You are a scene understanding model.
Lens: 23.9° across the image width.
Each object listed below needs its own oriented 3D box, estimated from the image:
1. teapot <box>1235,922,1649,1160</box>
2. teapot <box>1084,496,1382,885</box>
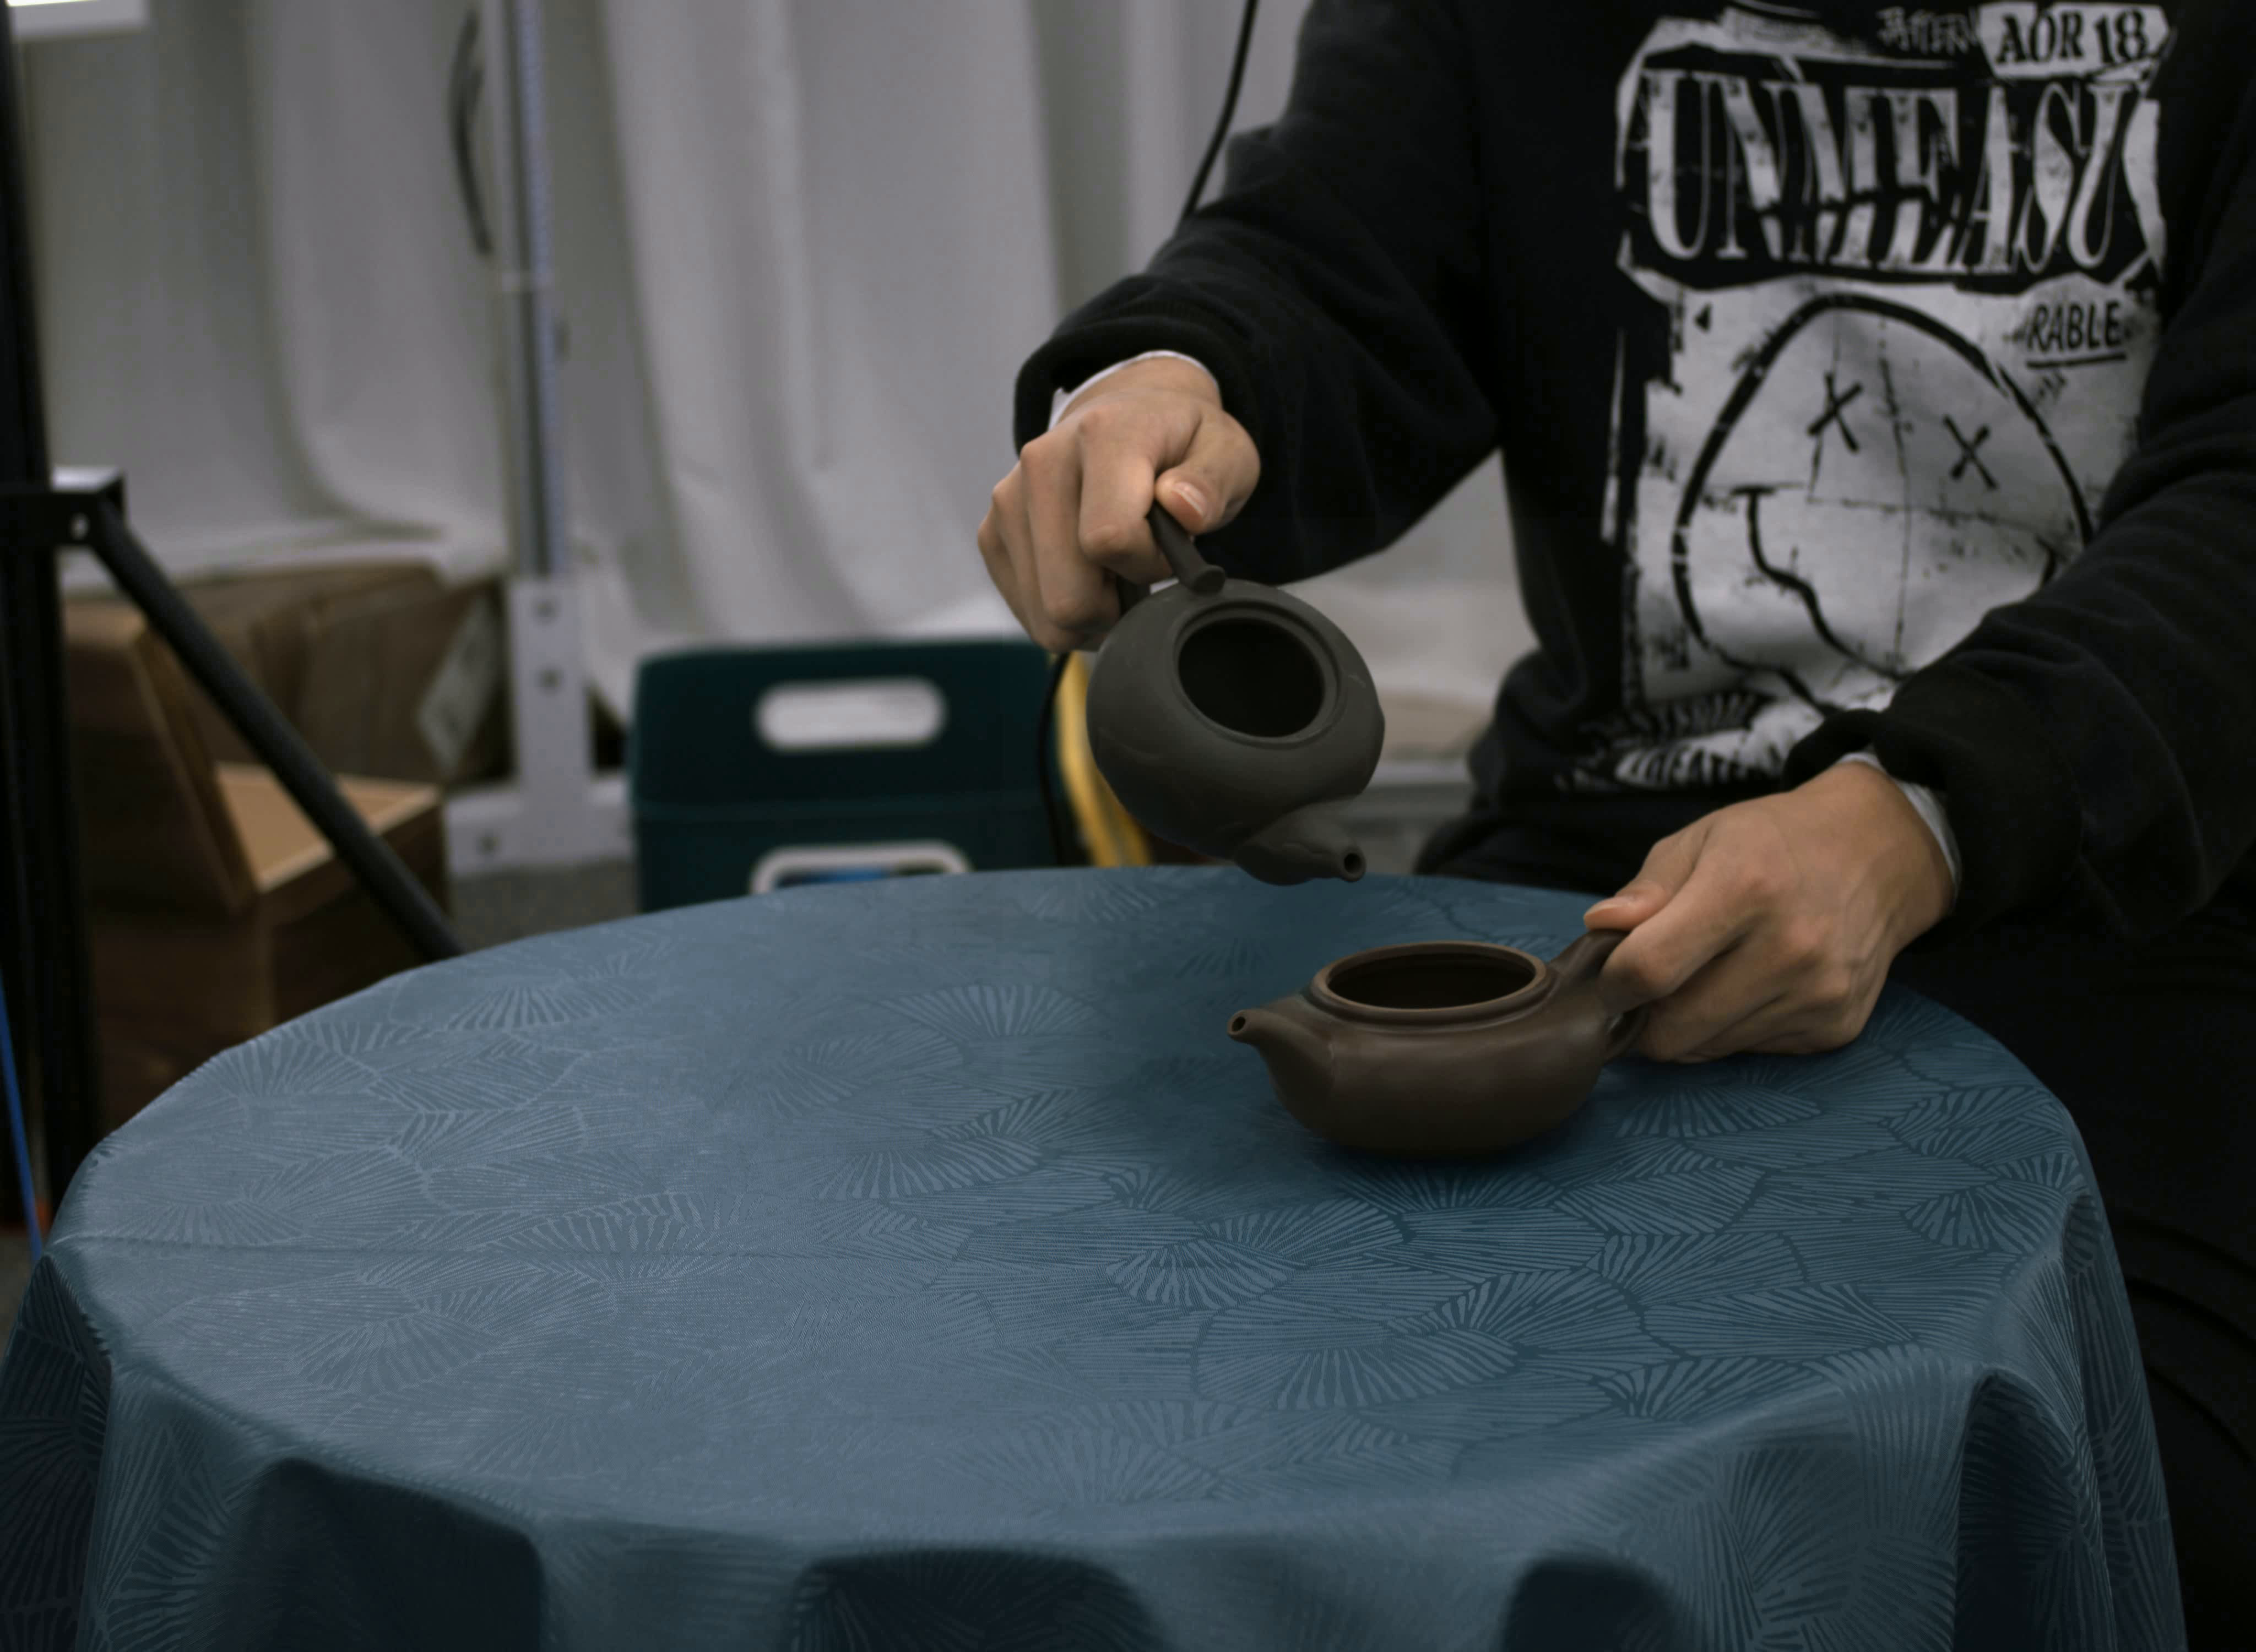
[{"bbox_3d":[0.096,0.064,1.590,0.150,0.054,0.105,-17,23,-34],"label":"teapot"},{"bbox_3d":[0.030,-0.035,1.629,0.090,0.064,0.157,-10,57,-28],"label":"teapot"}]
